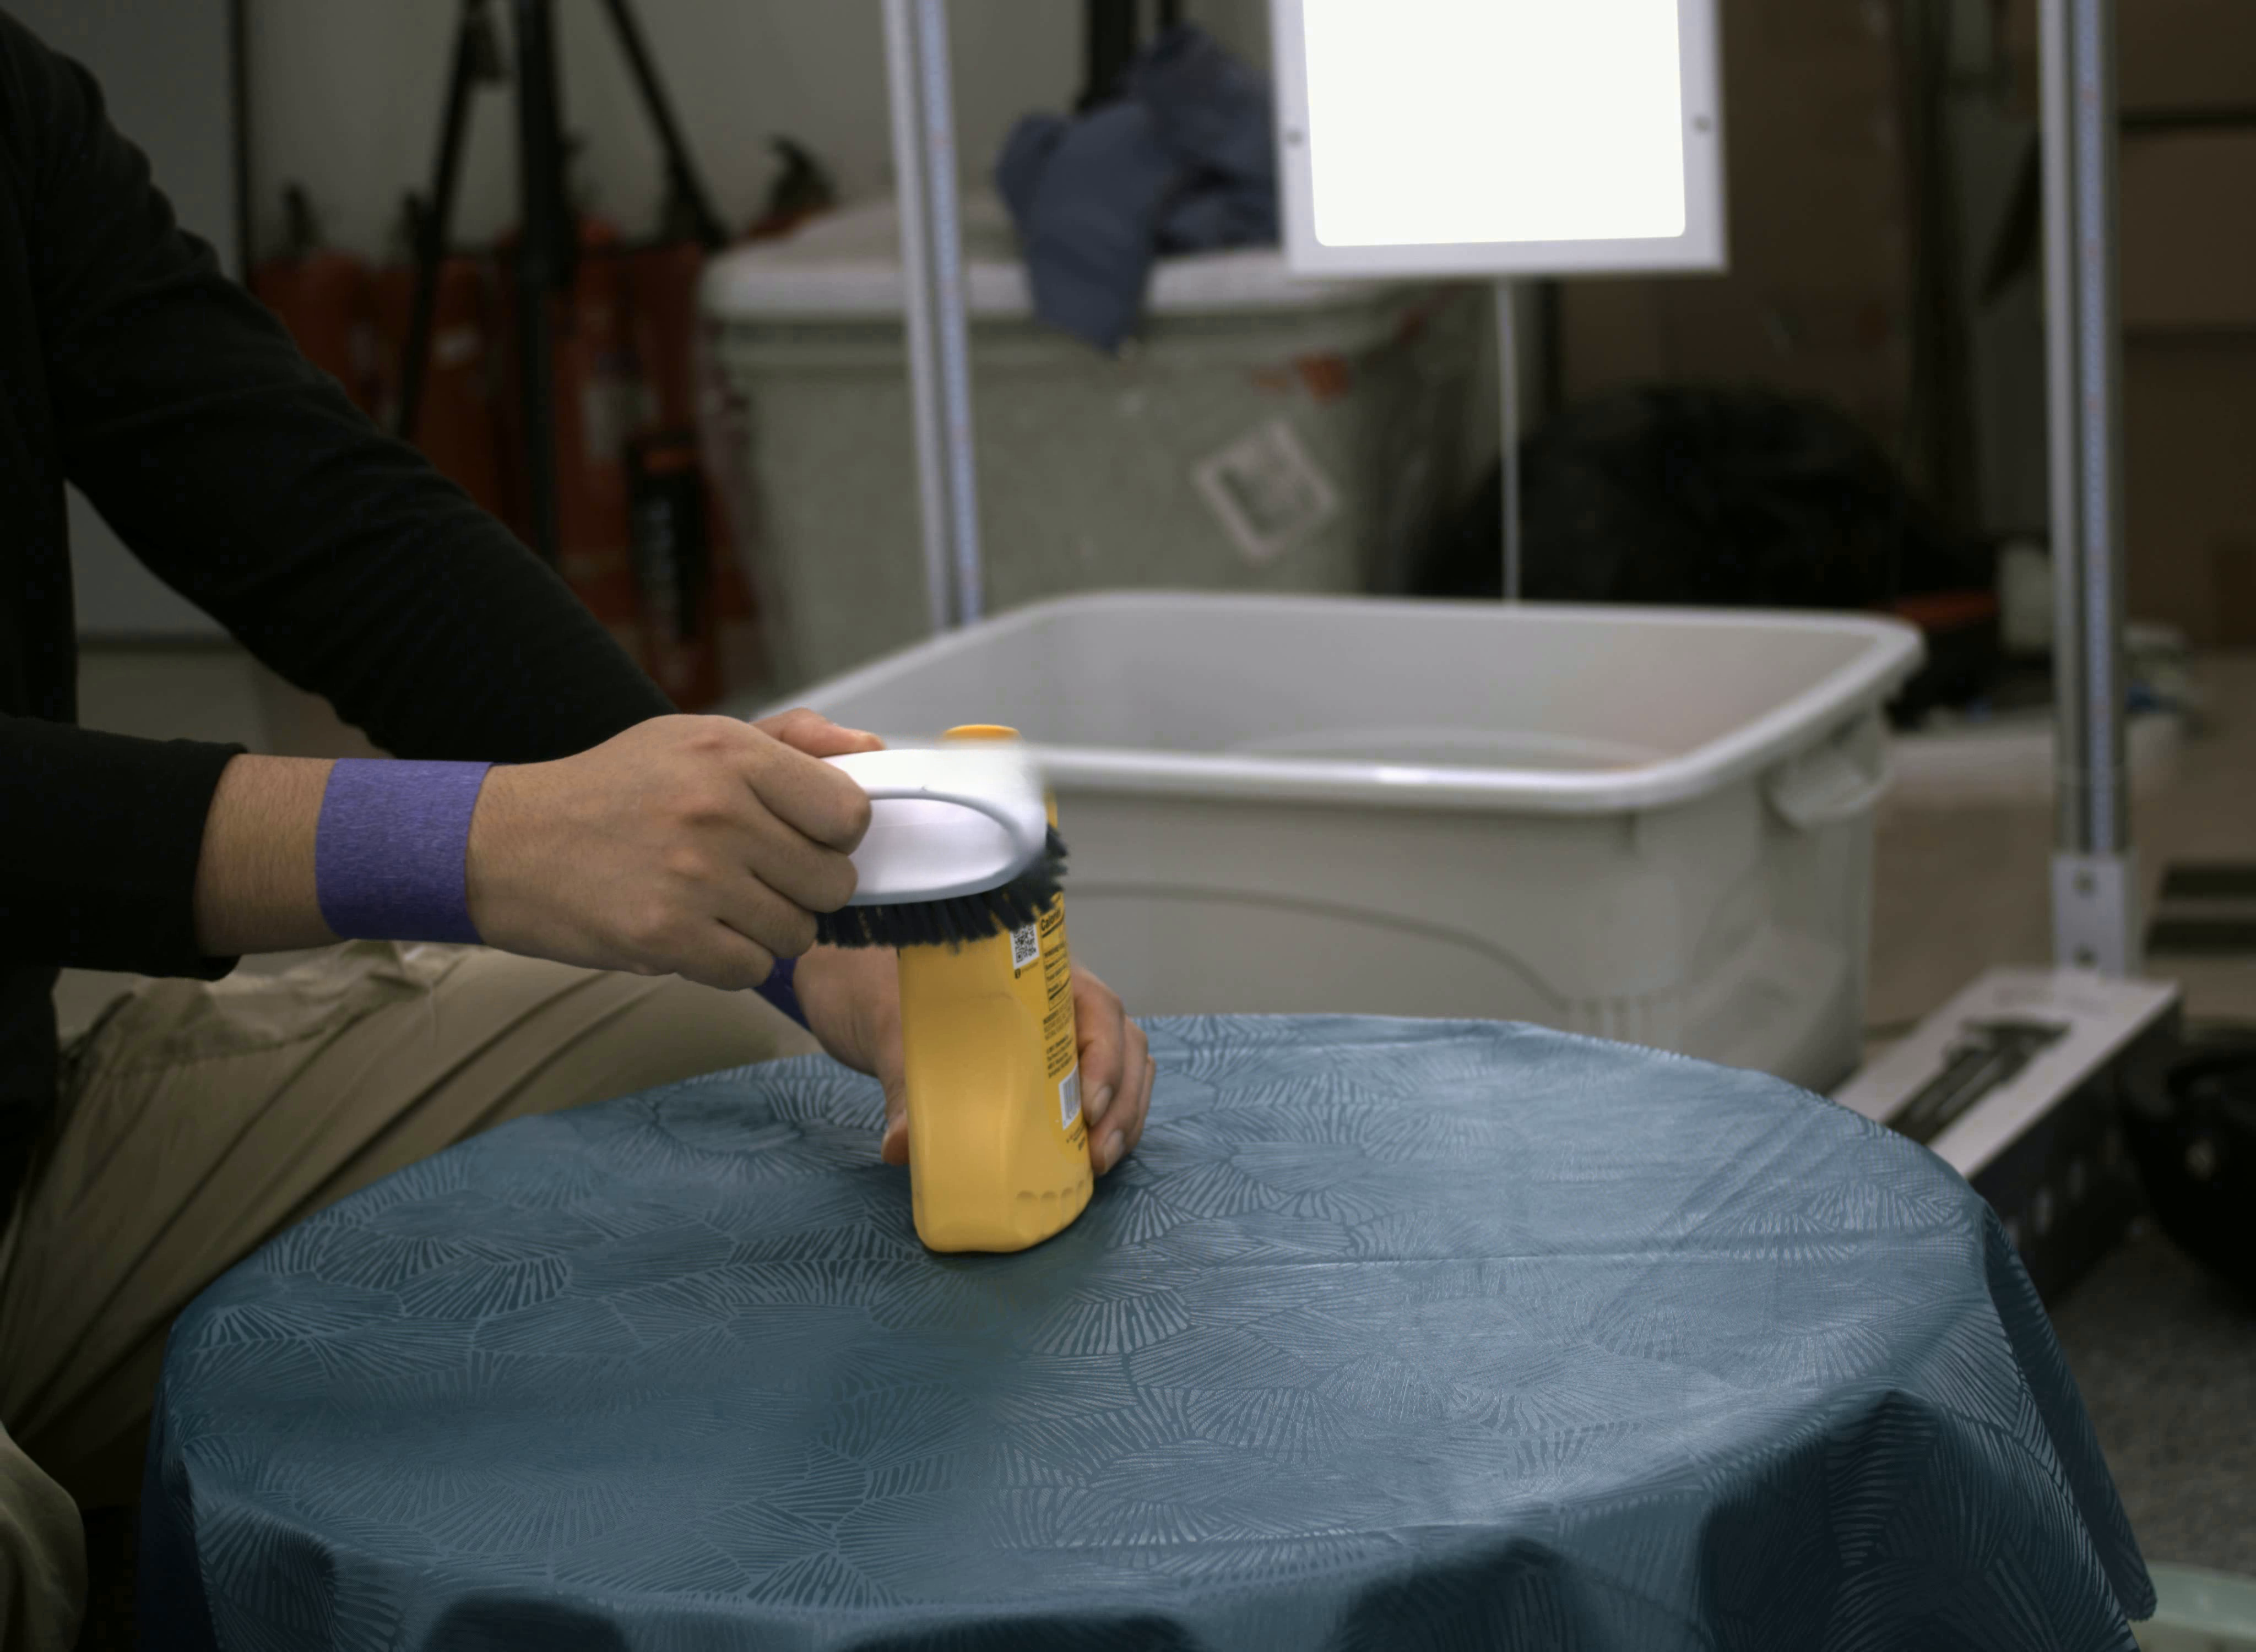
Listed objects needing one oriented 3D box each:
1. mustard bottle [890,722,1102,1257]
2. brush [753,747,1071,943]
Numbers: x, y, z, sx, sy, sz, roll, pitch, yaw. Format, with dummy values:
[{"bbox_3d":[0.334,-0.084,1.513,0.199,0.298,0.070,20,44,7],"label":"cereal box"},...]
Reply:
[{"bbox_3d":[-0.048,0.053,1.860,0.060,0.172,0.097,-3,15,14],"label":"mustard bottle"},{"bbox_3d":[-0.074,-0.001,1.780,0.100,0.050,0.072,-1,-30,17],"label":"brush"}]
